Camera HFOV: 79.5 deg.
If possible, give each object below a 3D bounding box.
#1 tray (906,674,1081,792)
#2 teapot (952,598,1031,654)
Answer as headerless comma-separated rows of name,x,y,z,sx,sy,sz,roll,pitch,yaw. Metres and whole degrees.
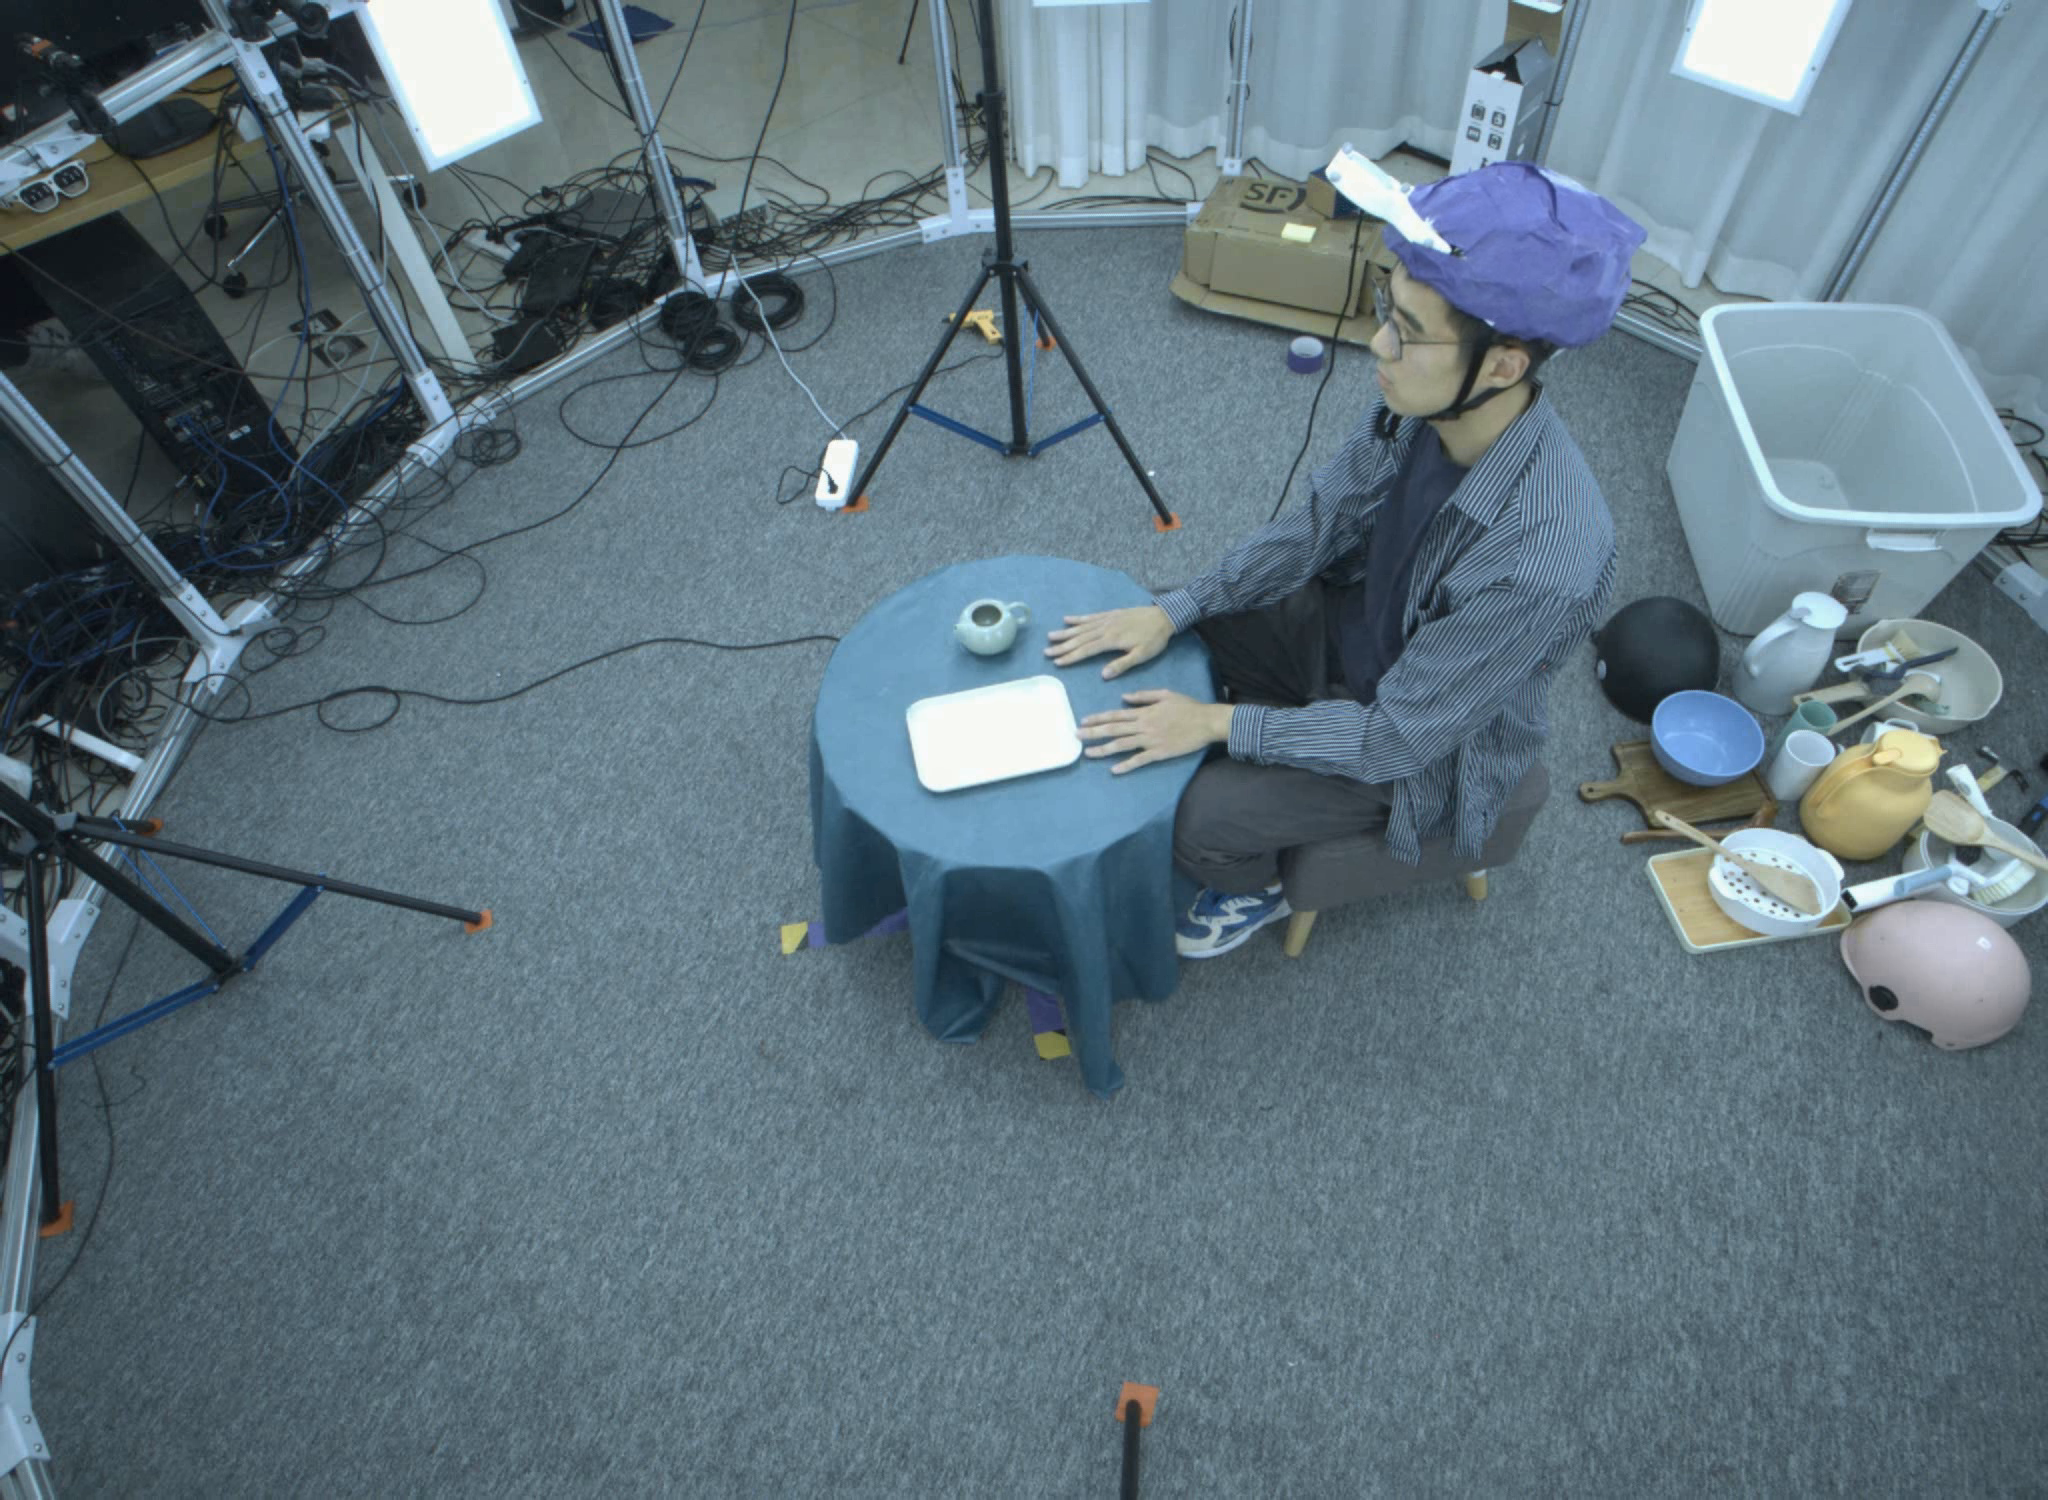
tray,-0.046,-0.025,1.800,0.241,0.017,0.168,-11,56,-7
teapot,-0.050,-0.194,1.895,0.129,0.061,0.090,-20,54,-12
